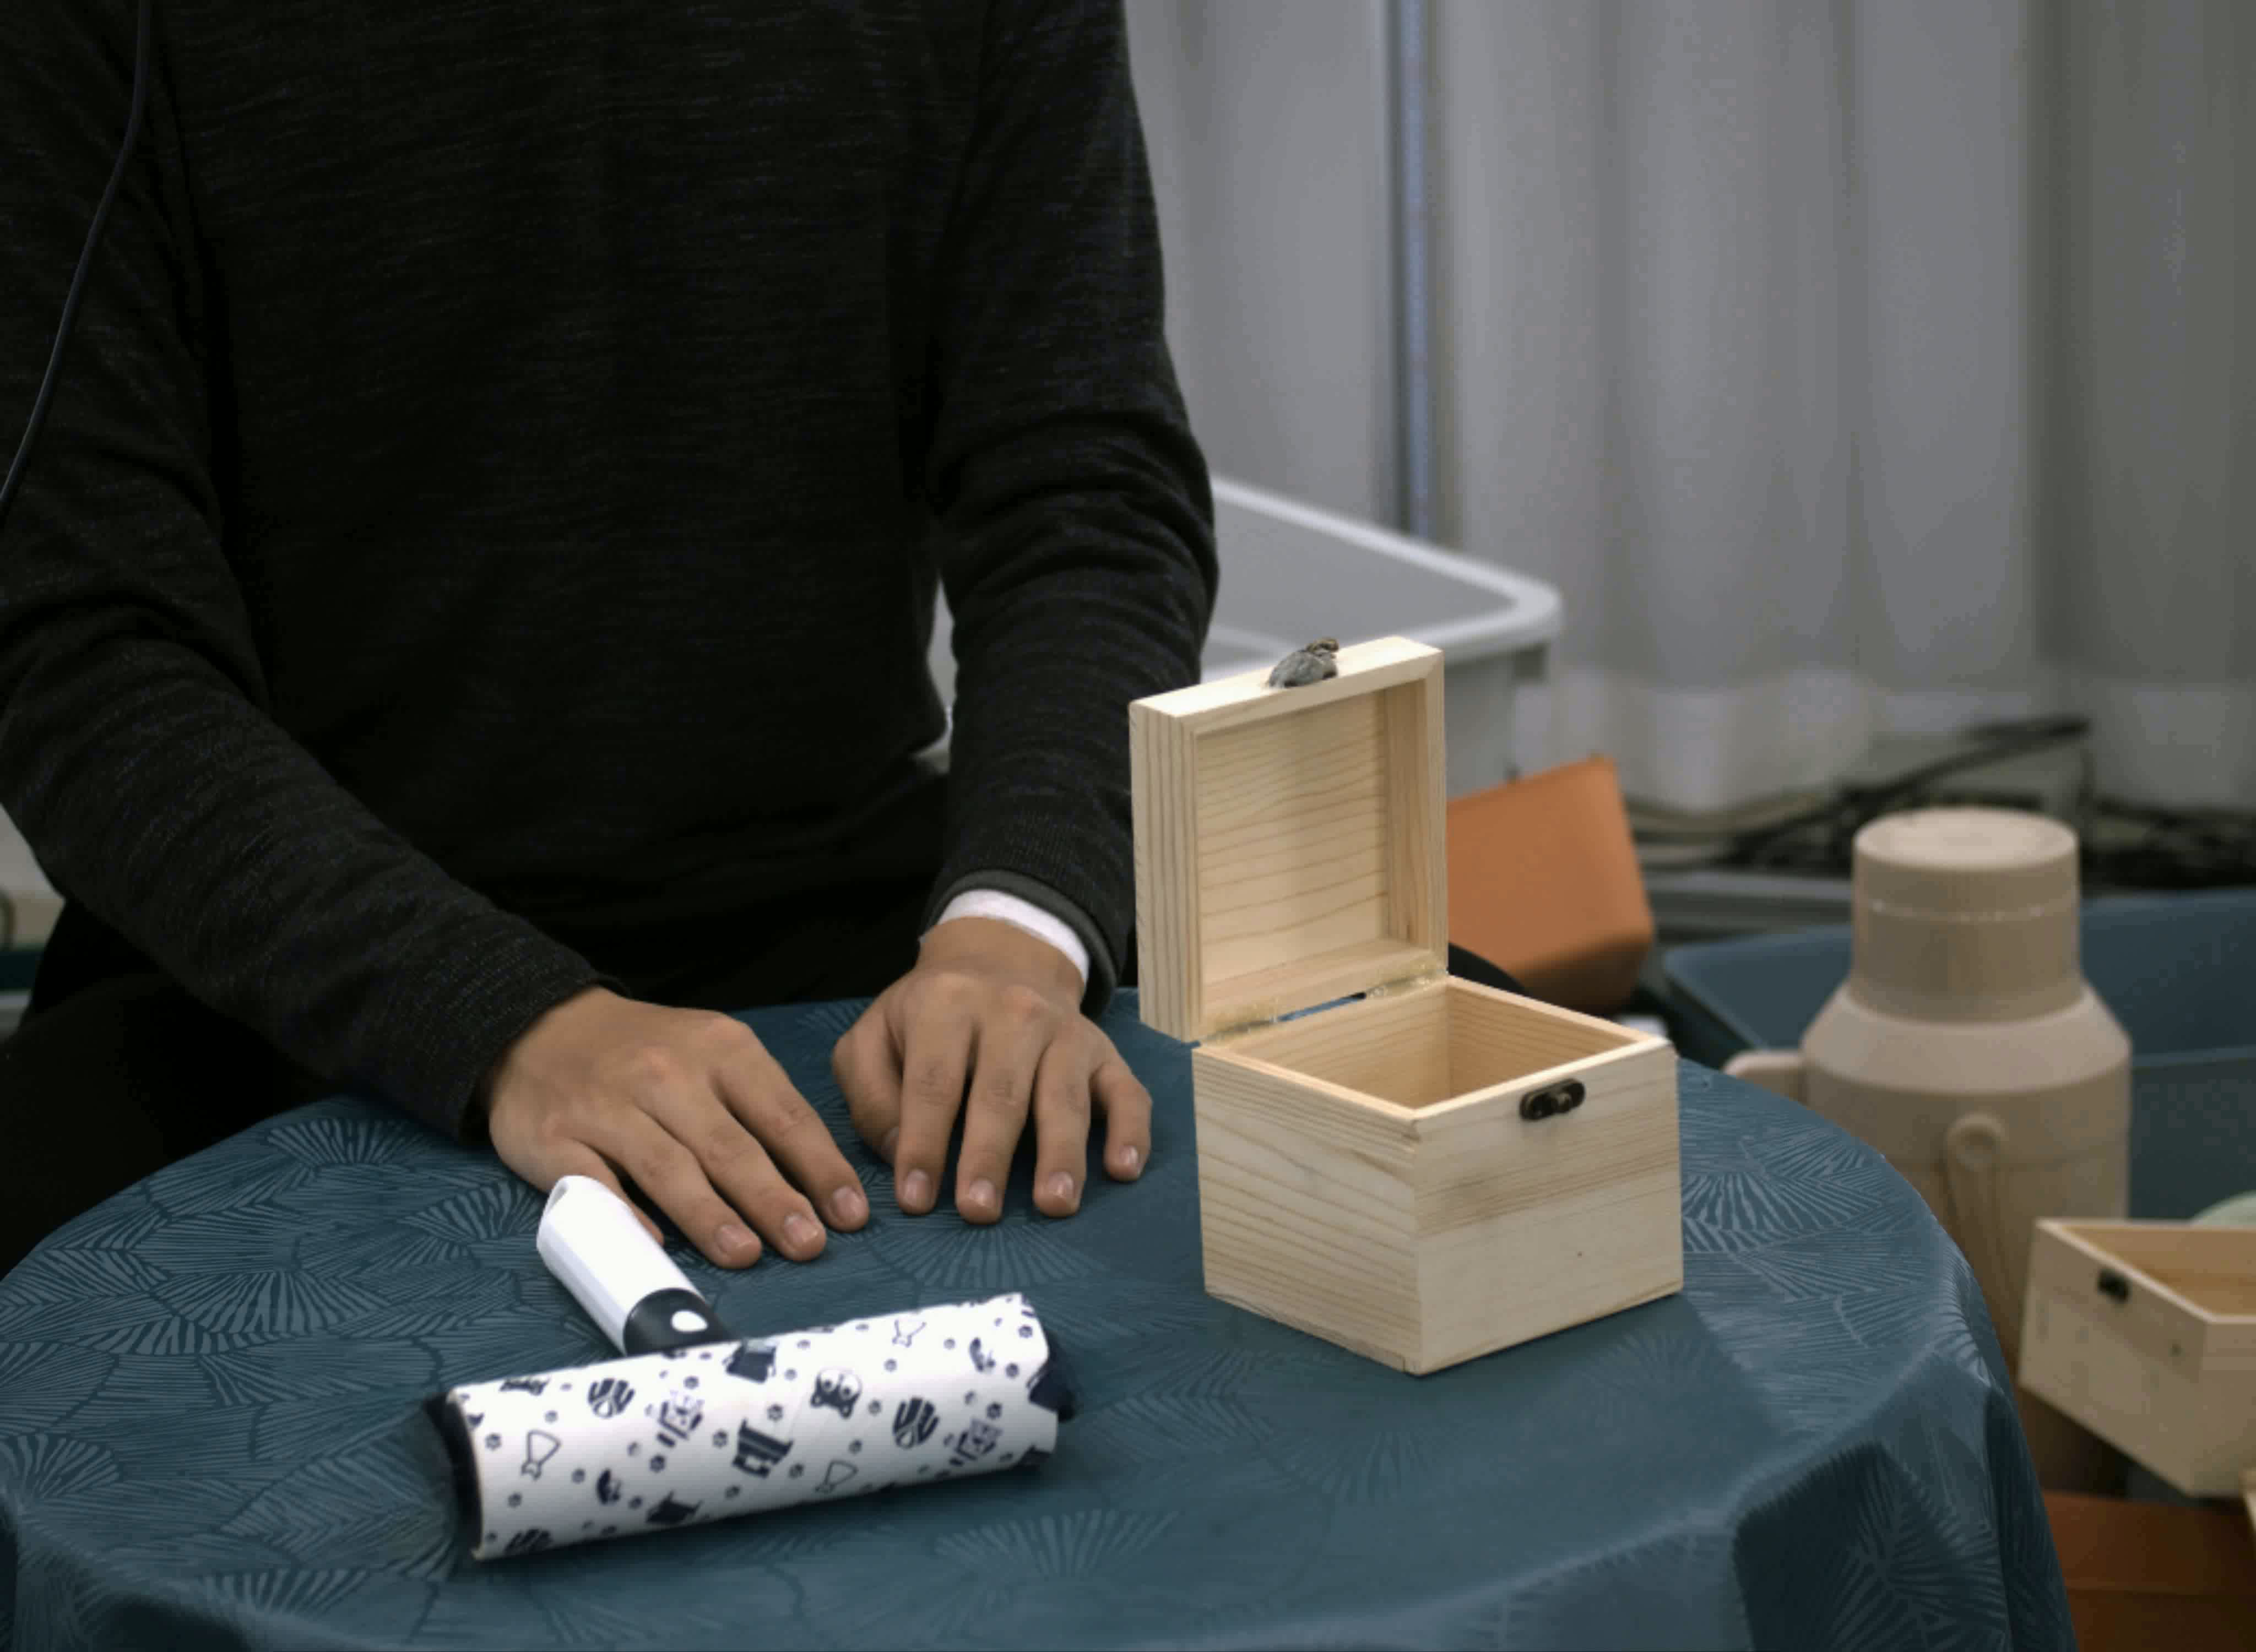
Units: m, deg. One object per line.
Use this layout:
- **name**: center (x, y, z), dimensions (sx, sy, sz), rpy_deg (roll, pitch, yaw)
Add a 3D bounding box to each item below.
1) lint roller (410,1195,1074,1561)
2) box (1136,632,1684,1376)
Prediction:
- **lint roller**: center (-0.135, 0.140, 1.563), dimensions (0.175, 0.050, 0.249), rpy_deg (-9, 15, -18)
- **box**: center (0.083, 0.048, 1.594), dimensions (0.102, 0.184, 0.135), rpy_deg (-13, 16, -35)
